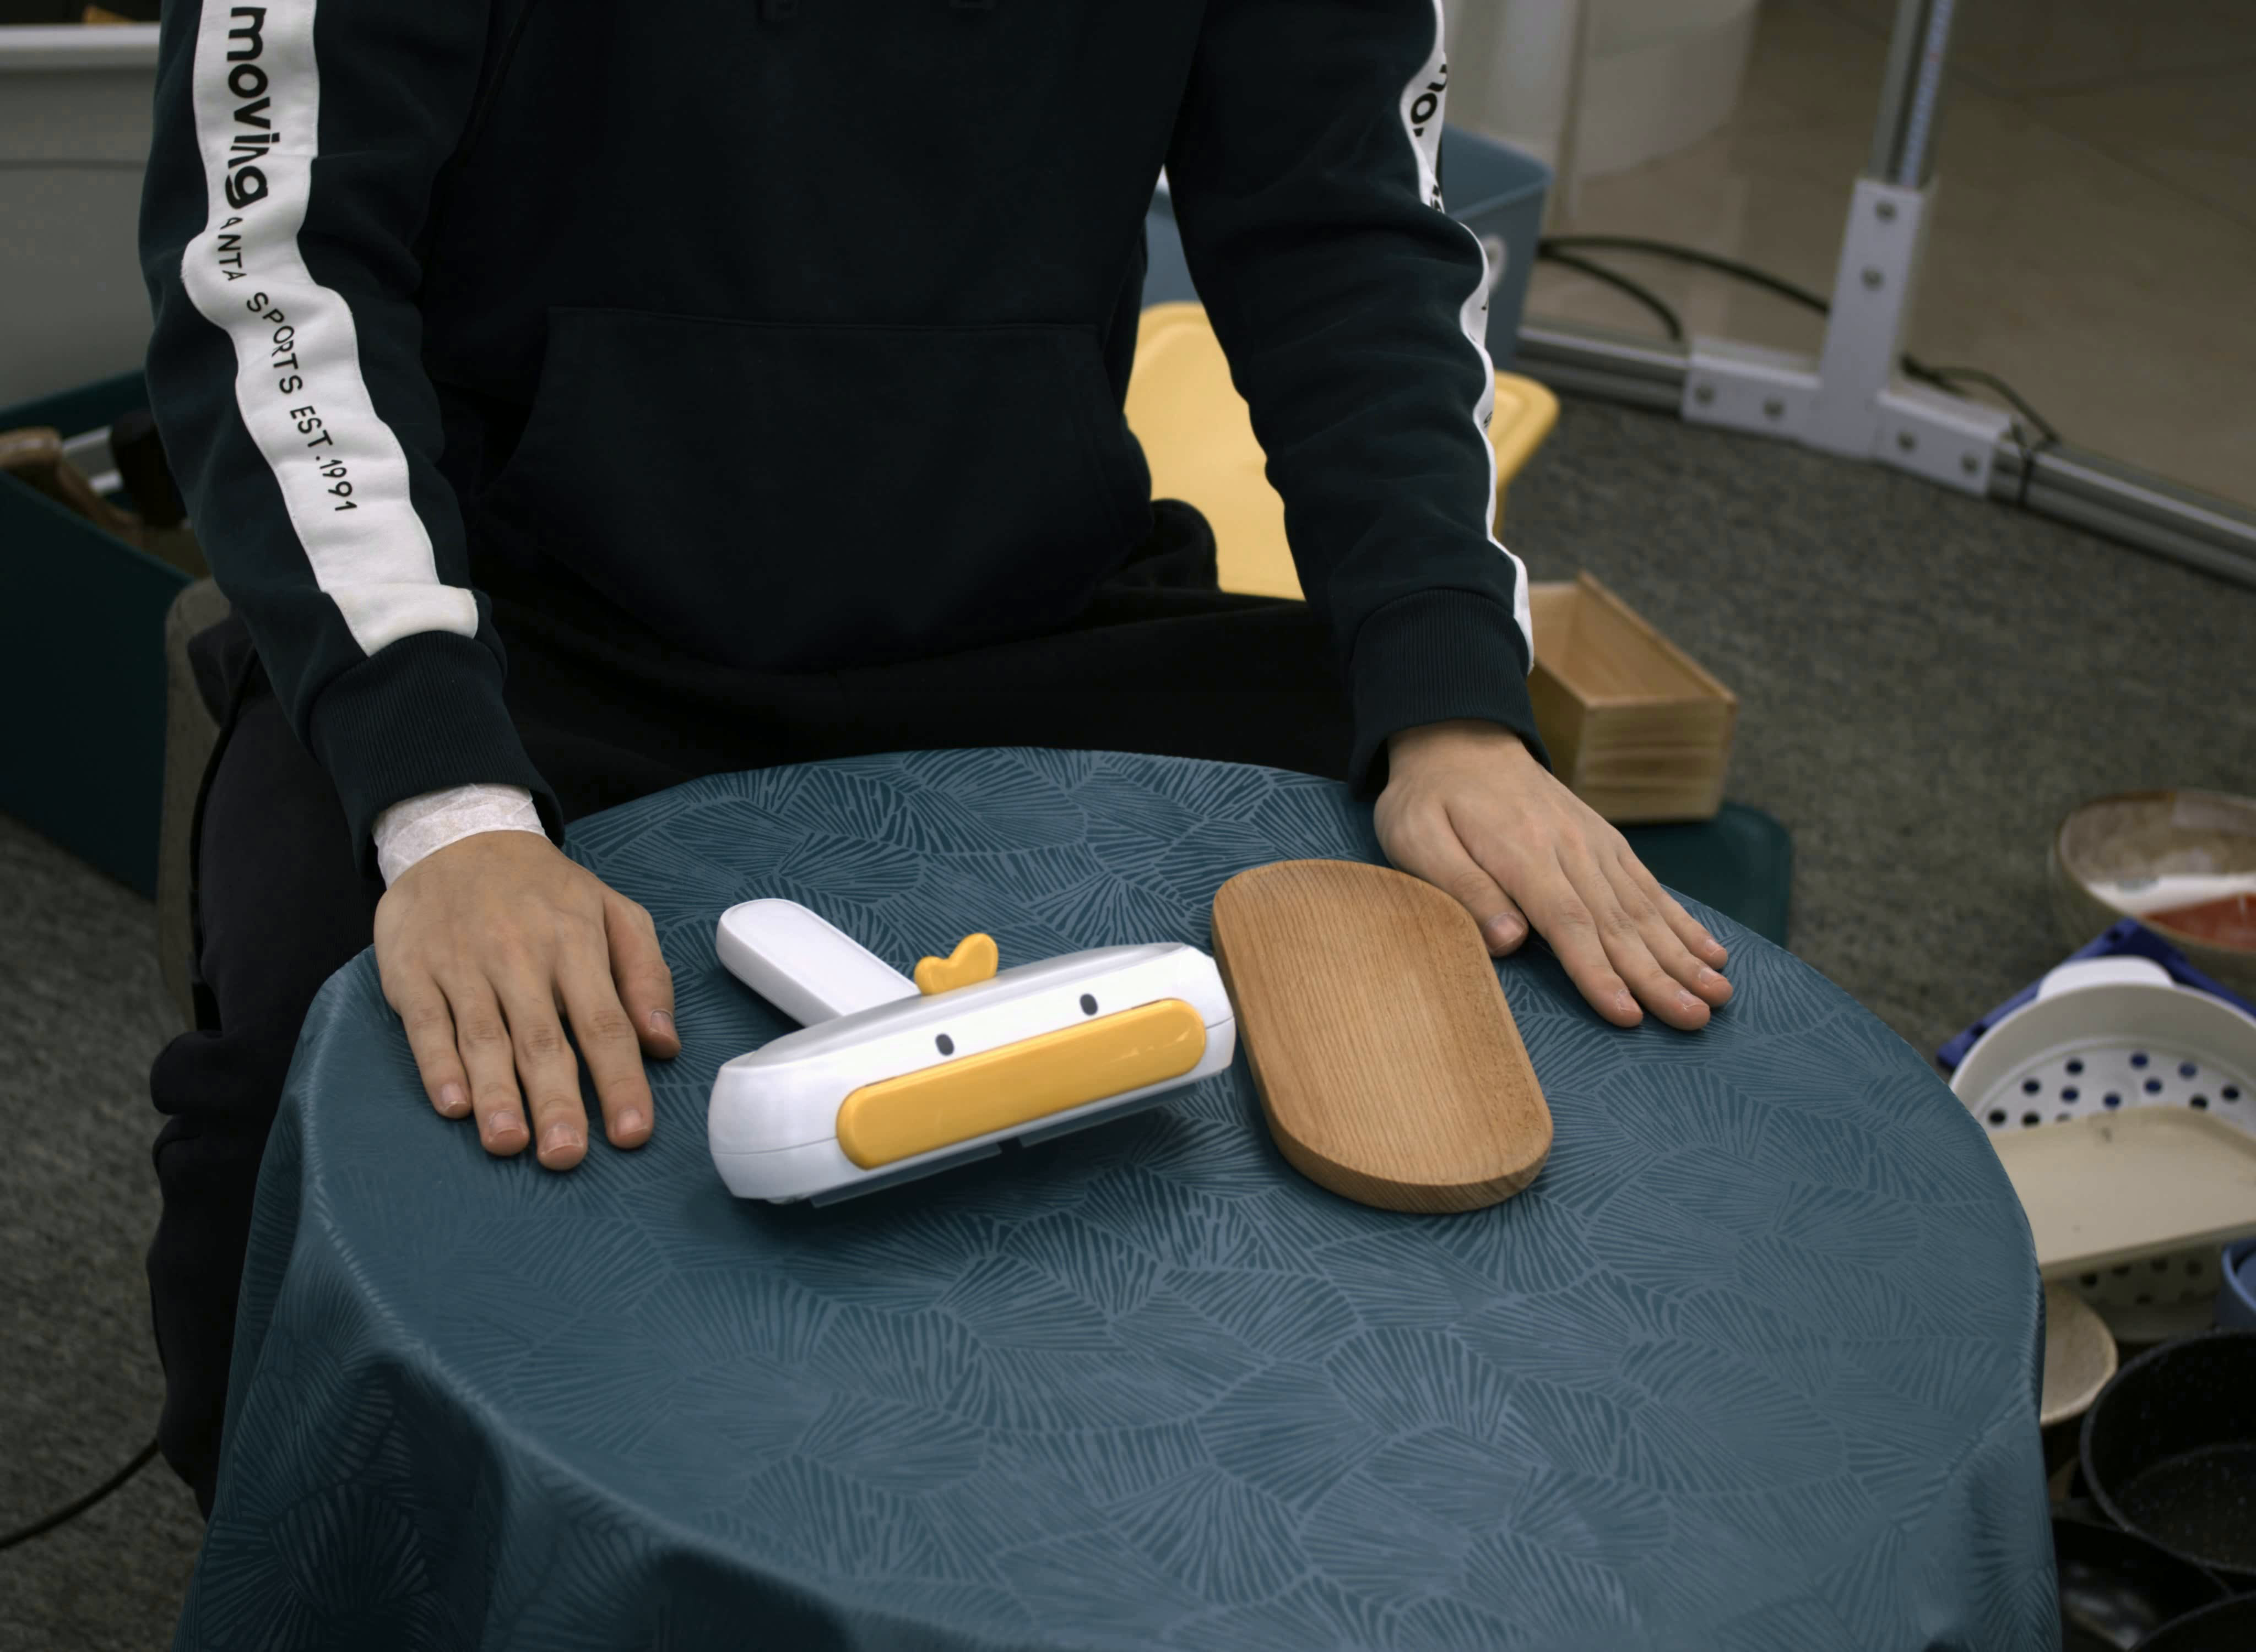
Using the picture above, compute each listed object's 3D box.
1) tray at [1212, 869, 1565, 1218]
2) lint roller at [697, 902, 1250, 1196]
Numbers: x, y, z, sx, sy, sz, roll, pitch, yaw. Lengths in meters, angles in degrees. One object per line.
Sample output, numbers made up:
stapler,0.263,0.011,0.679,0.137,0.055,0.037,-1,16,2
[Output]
tray,0.090,0.075,1.896,0.101,0.020,0.233,0,28,-10
lint roller,-0.082,0.066,1.839,0.192,0.074,0.193,-21,18,-33
